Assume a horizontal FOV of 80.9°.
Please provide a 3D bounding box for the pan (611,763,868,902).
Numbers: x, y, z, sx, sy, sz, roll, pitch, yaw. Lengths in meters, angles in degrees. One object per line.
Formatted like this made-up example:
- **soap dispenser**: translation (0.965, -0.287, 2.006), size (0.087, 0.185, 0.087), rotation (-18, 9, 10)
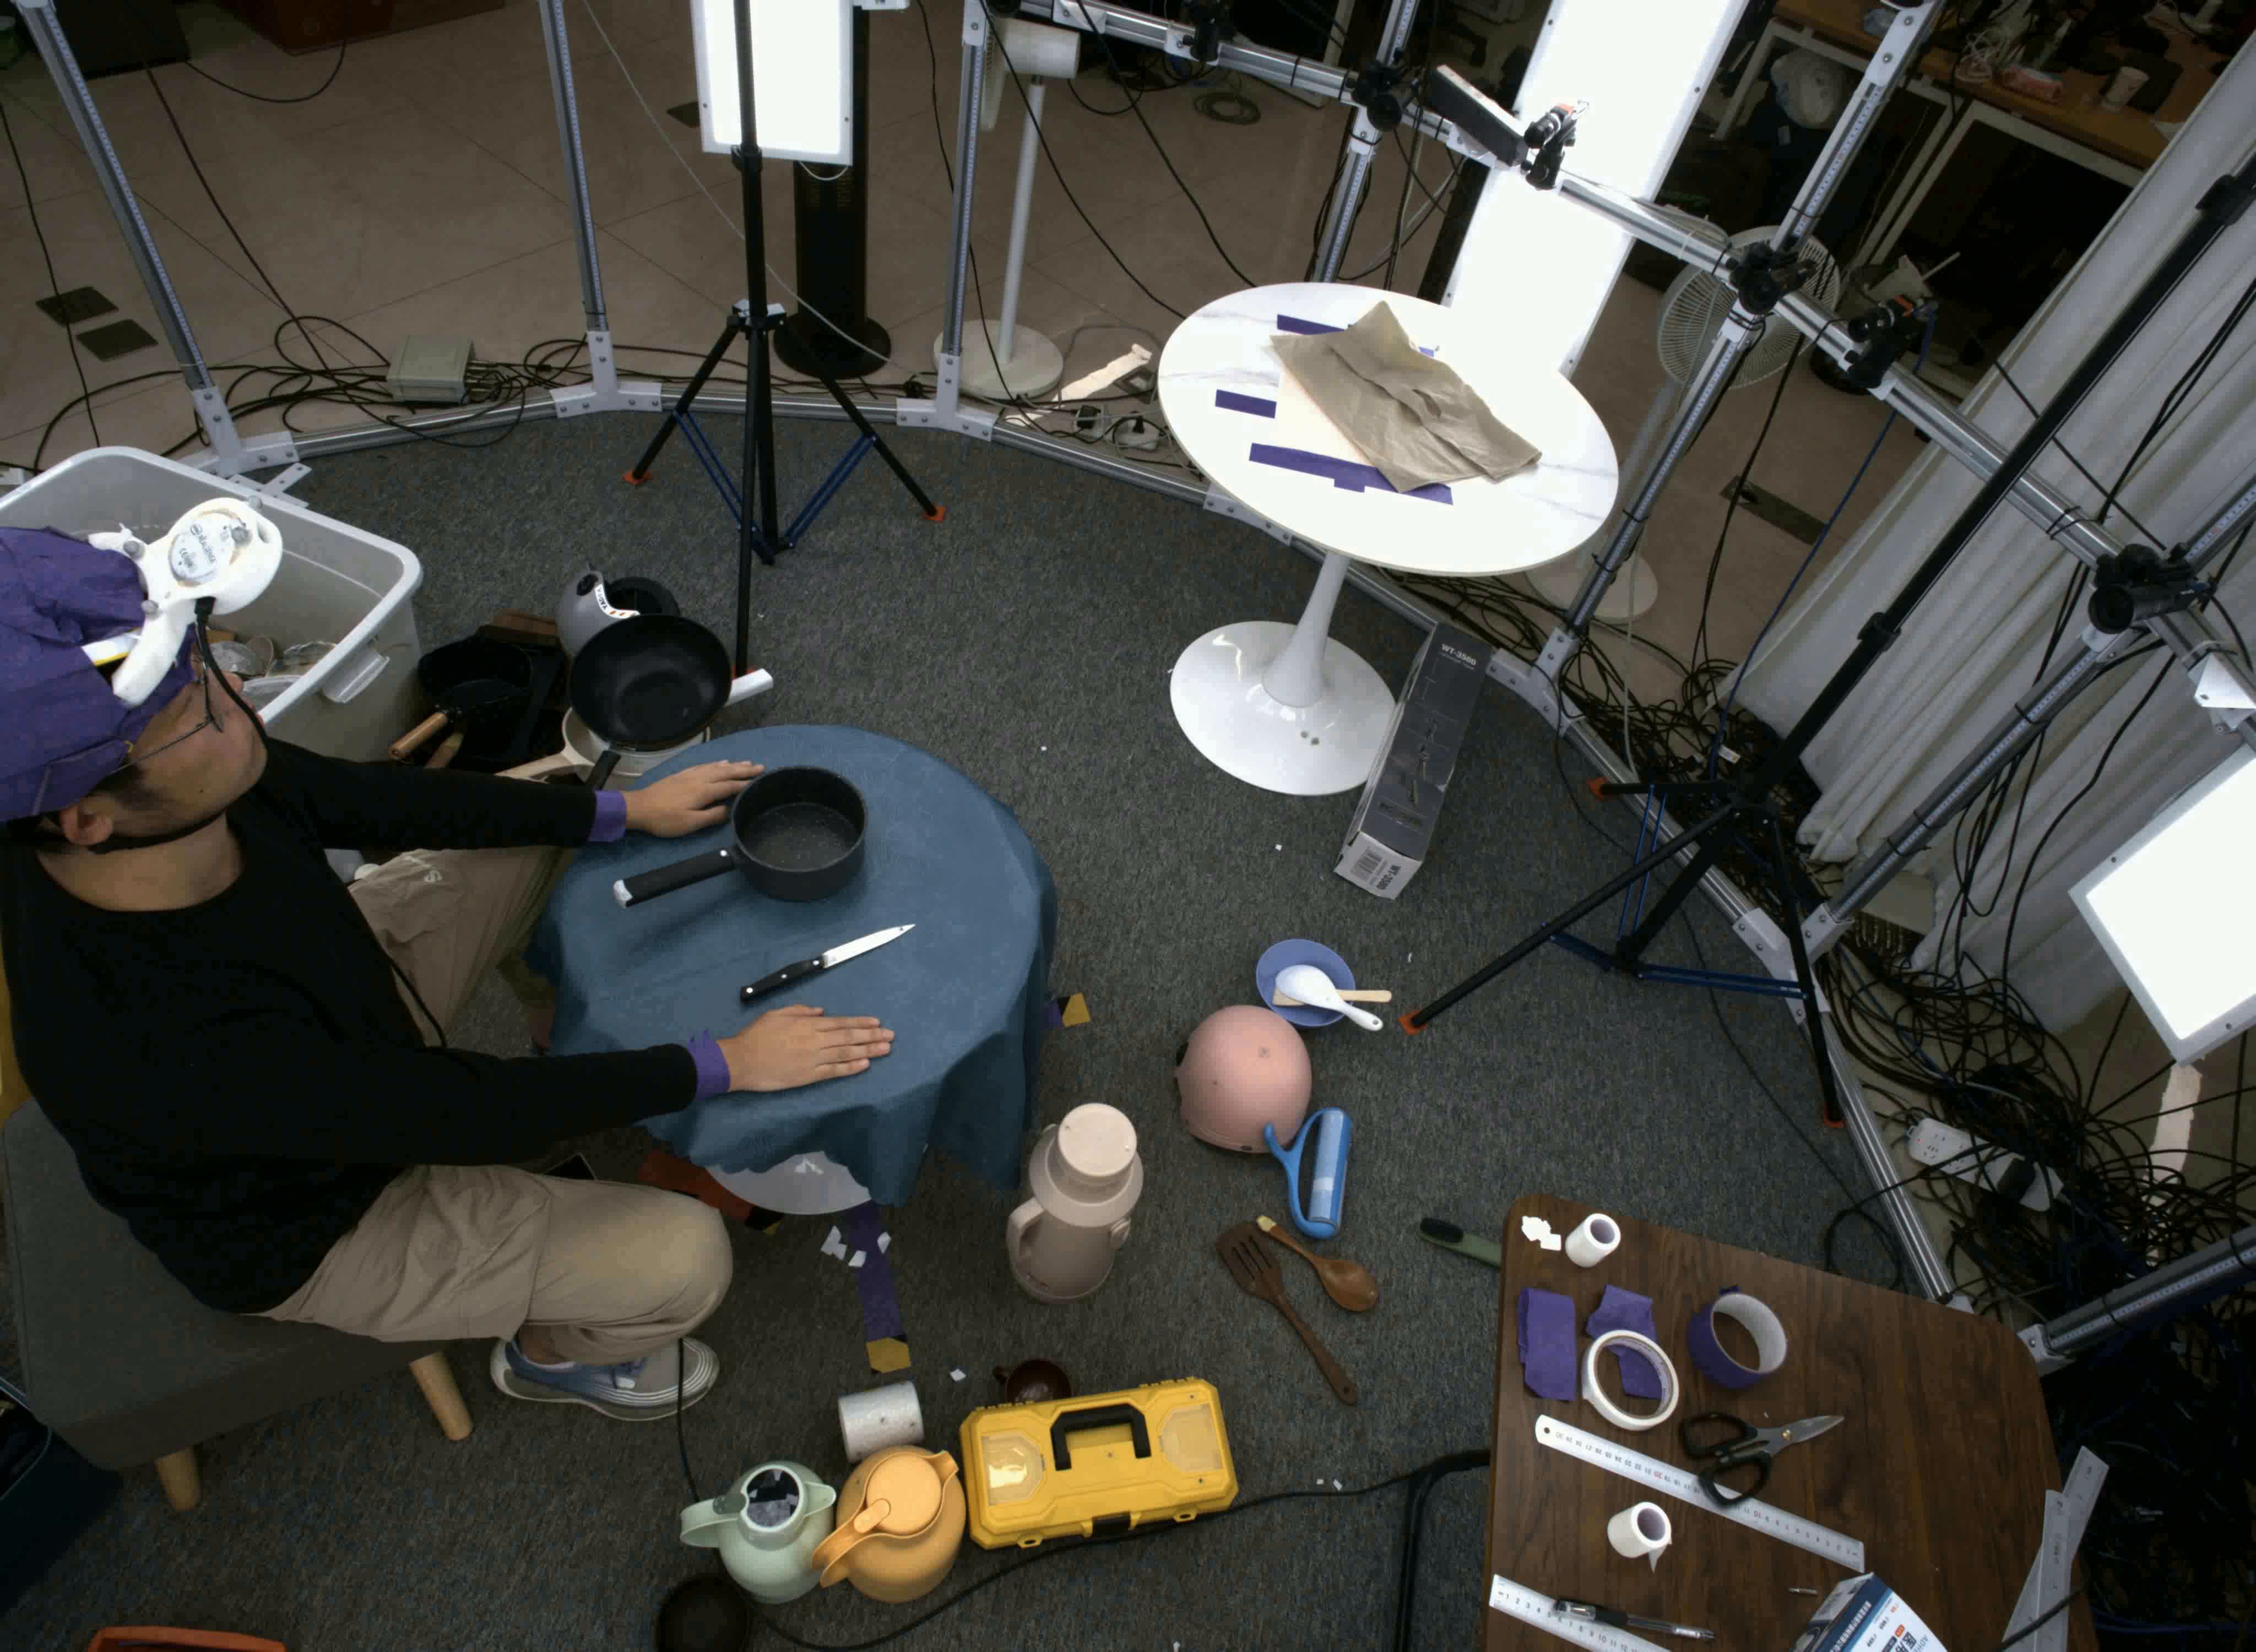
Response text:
- **pan**: translation (-0.484, 0.036, 1.624), size (0.330, 0.088, 0.168), rotation (-23, 62, -29)

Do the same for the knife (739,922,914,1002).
- **knife**: translation (-0.368, 0.164, 1.607), size (0.239, 0.016, 0.024), rotation (-22, 58, -31)
